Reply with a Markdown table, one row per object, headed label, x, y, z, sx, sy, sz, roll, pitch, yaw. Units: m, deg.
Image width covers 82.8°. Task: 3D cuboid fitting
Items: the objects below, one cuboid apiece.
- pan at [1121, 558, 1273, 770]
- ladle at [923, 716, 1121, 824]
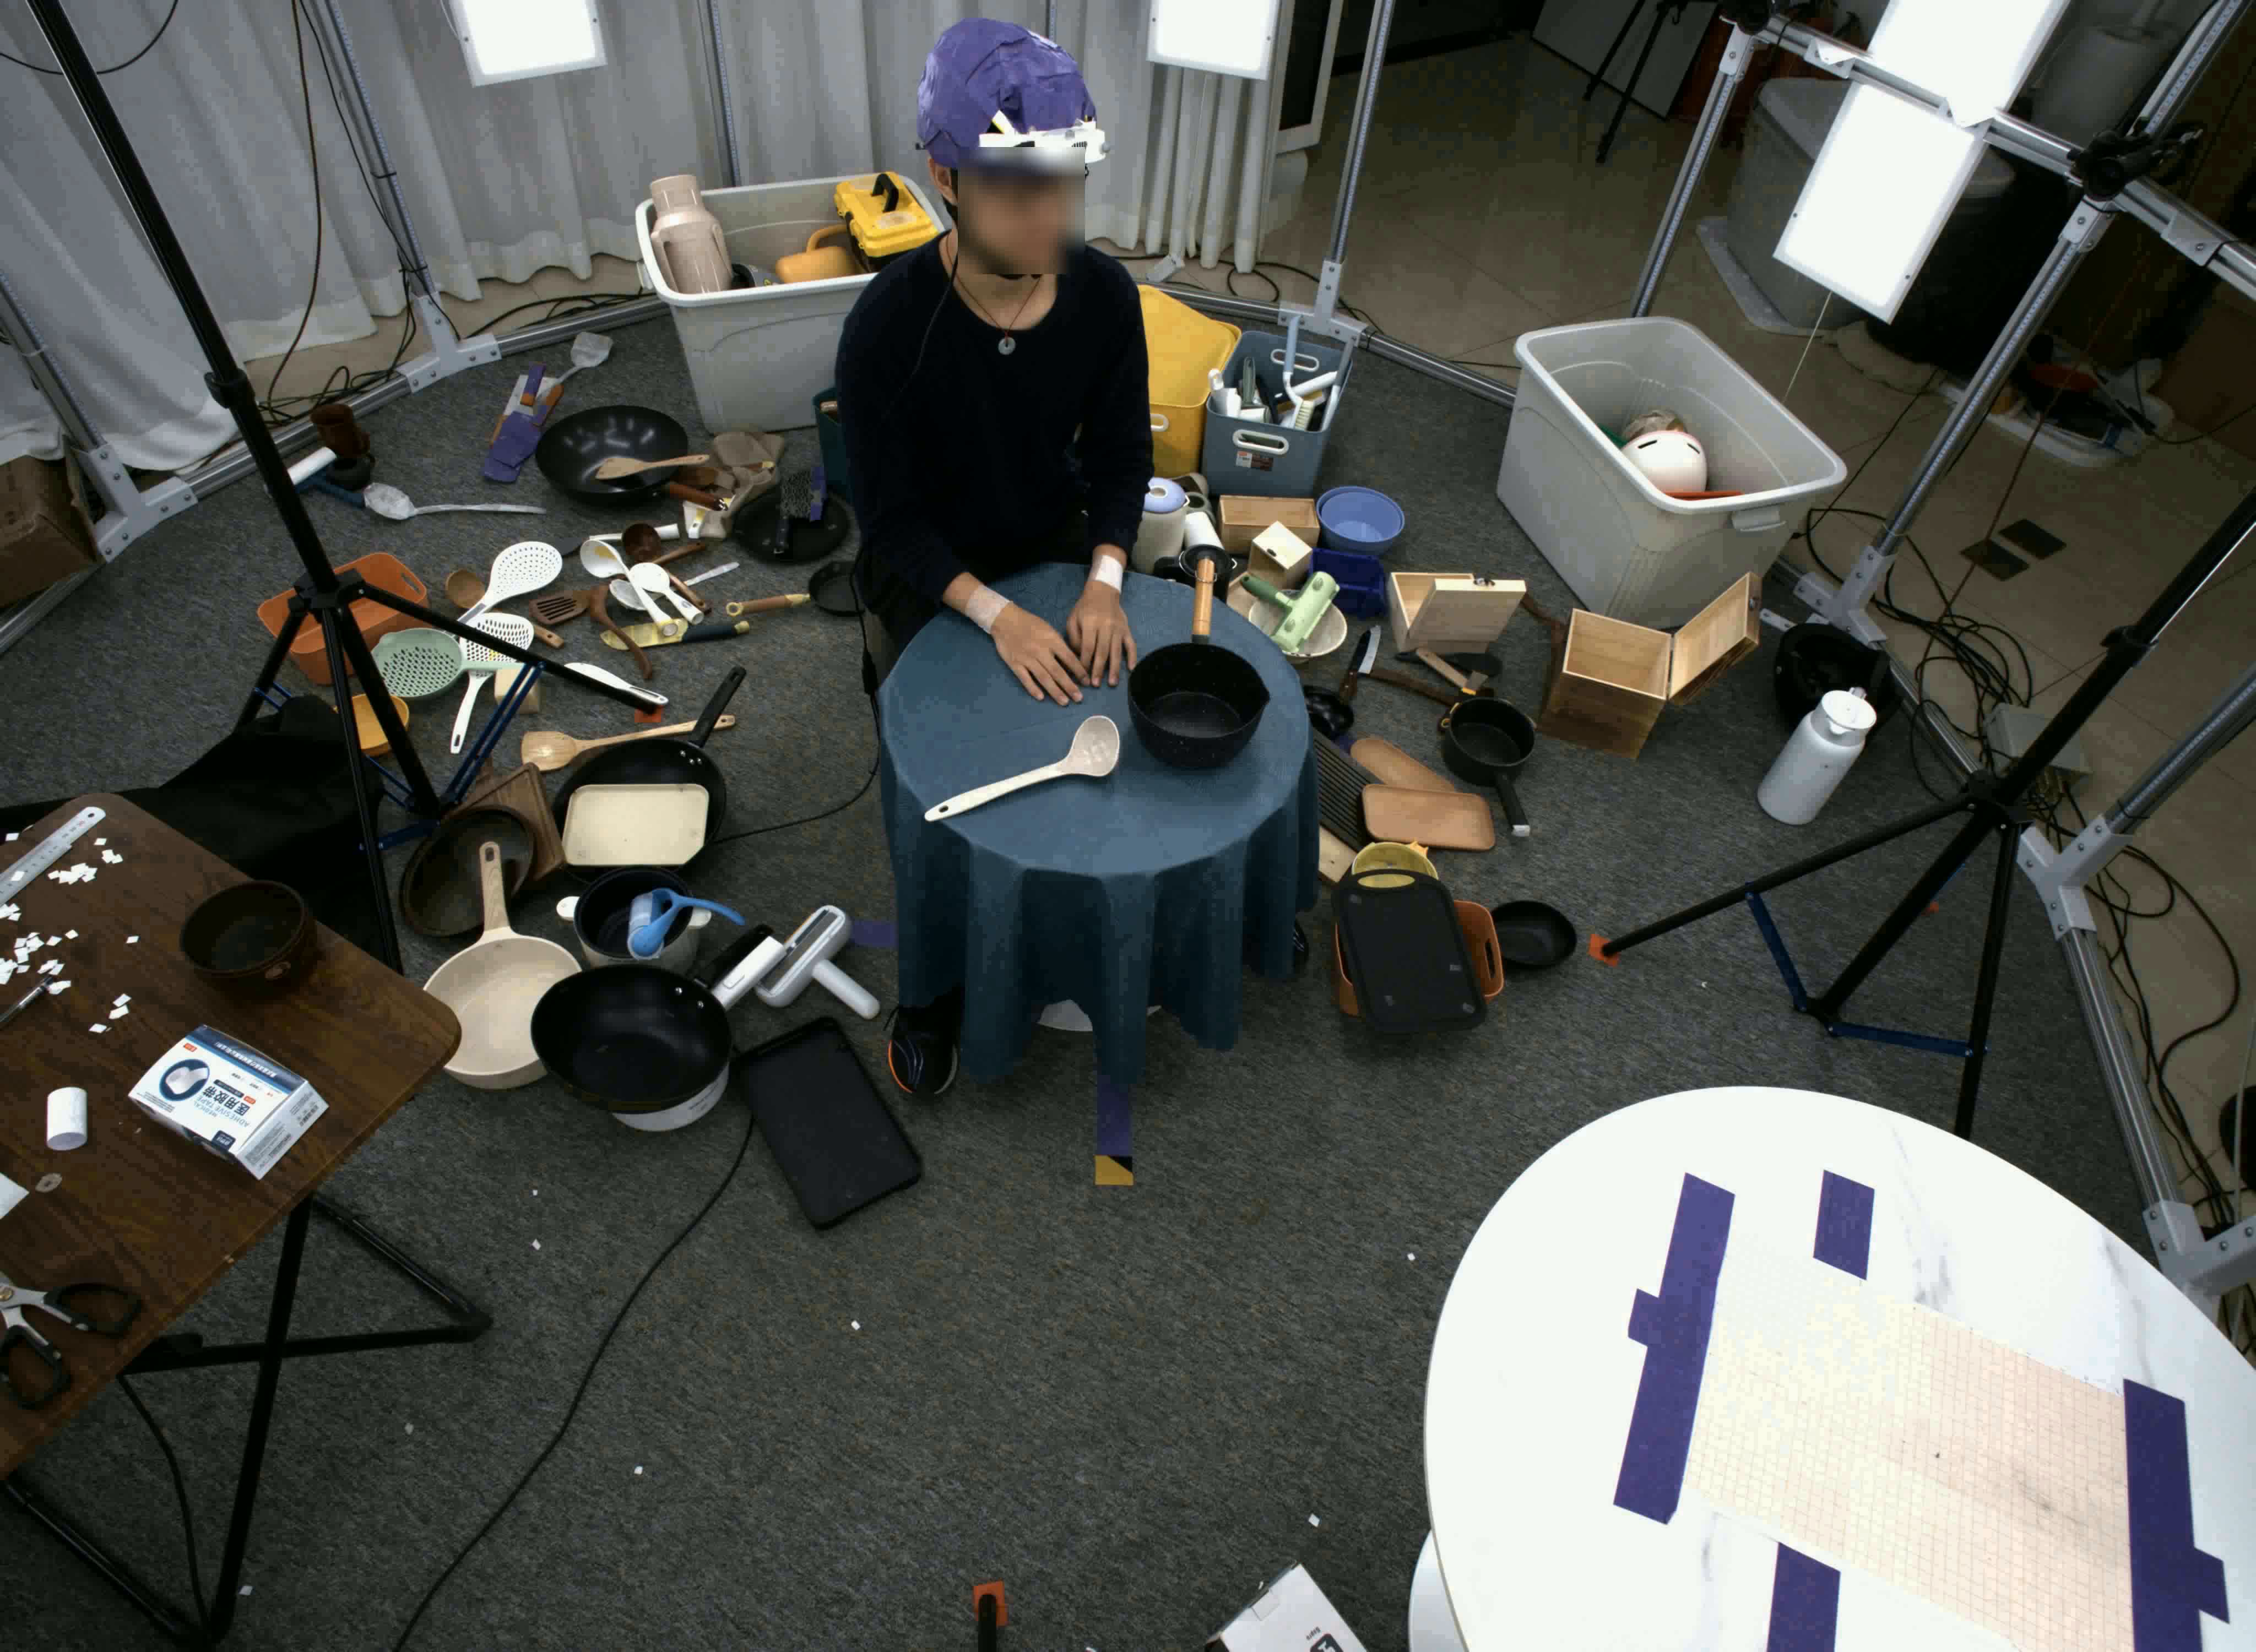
| label | x | y | z | sx | sy | sz | roll | pitch | yaw |
| --- | --- | --- | --- | --- | --- | --- | --- | --- | --- |
| pan | 0.096 | -0.228 | 1.803 | 0.207 | 0.105 | 0.351 | 4 | 50 | 1 |
| ladle | -0.138 | -0.070 | 1.678 | 0.275 | 0.068 | 0.091 | -20 | 61 | -19 |
